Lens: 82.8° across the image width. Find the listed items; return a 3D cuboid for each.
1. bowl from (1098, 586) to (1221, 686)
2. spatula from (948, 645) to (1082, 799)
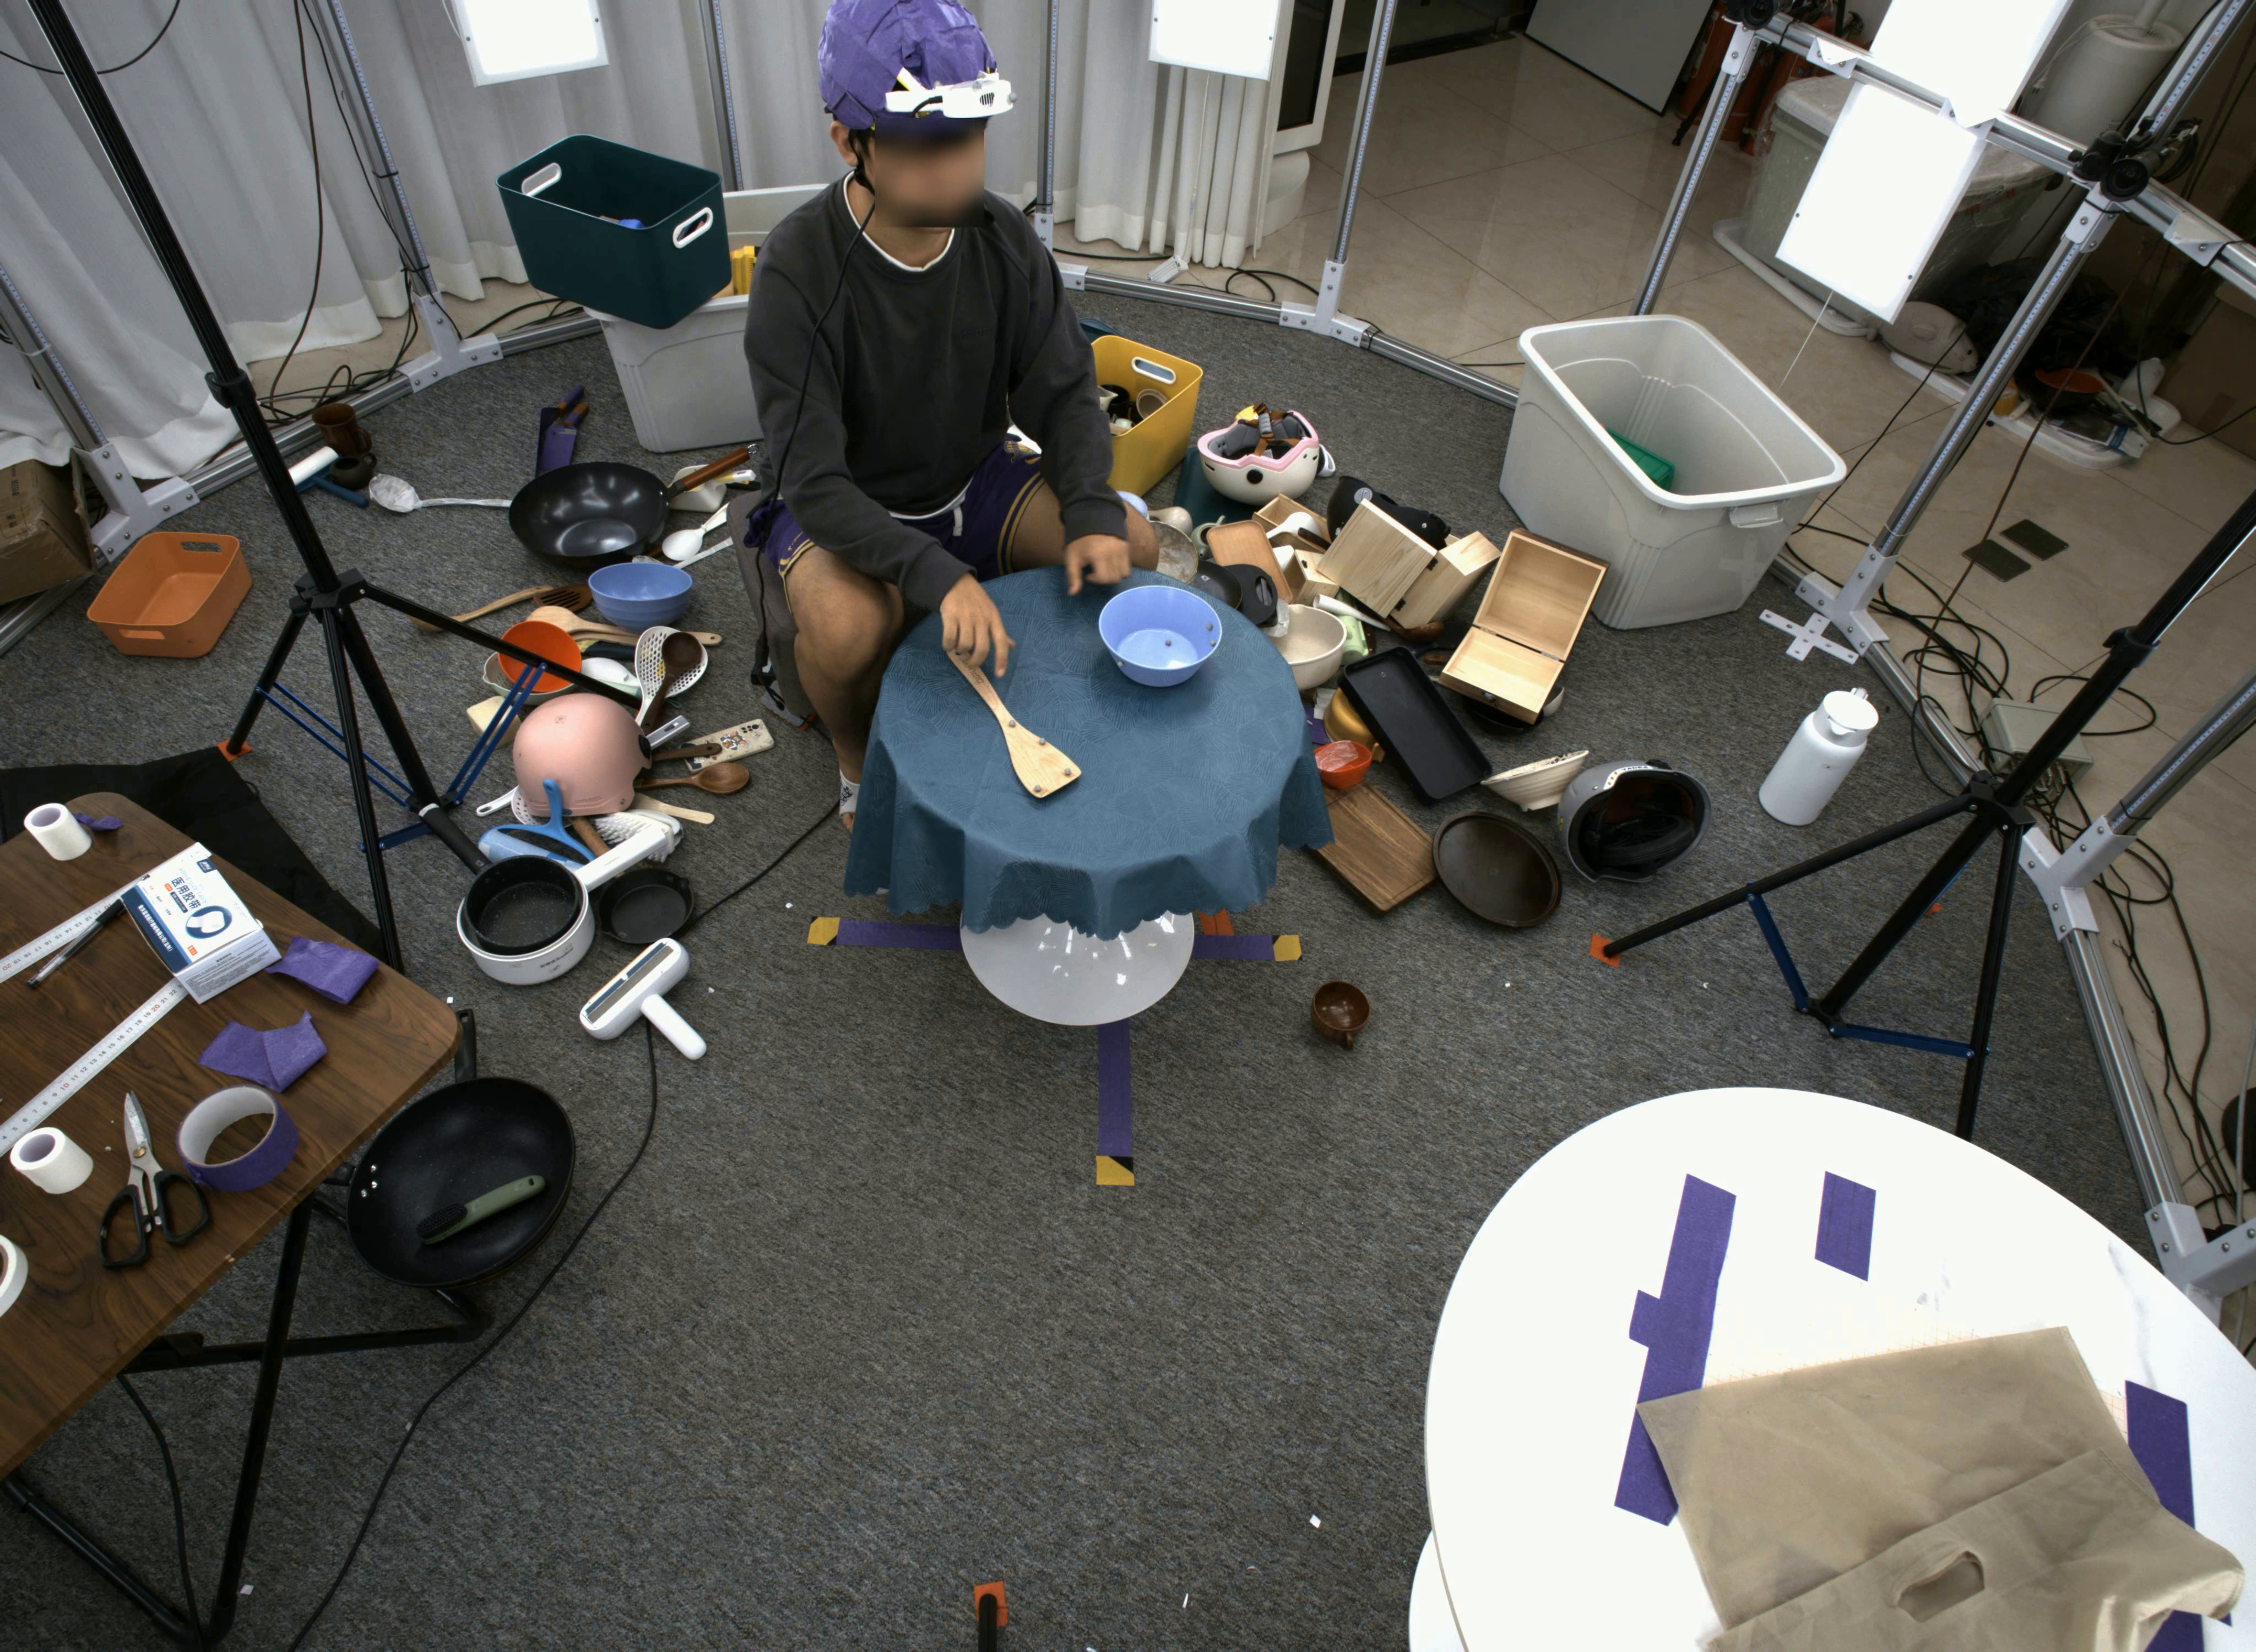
[{"bbox_3d":[0.043,-0.266,1.855,0.176,0.068,0.180,2,49,-2],"label":"bowl"},{"bbox_3d":[-0.169,-0.154,1.779,0.080,0.016,0.334,-23,54,-21],"label":"spatula"}]
